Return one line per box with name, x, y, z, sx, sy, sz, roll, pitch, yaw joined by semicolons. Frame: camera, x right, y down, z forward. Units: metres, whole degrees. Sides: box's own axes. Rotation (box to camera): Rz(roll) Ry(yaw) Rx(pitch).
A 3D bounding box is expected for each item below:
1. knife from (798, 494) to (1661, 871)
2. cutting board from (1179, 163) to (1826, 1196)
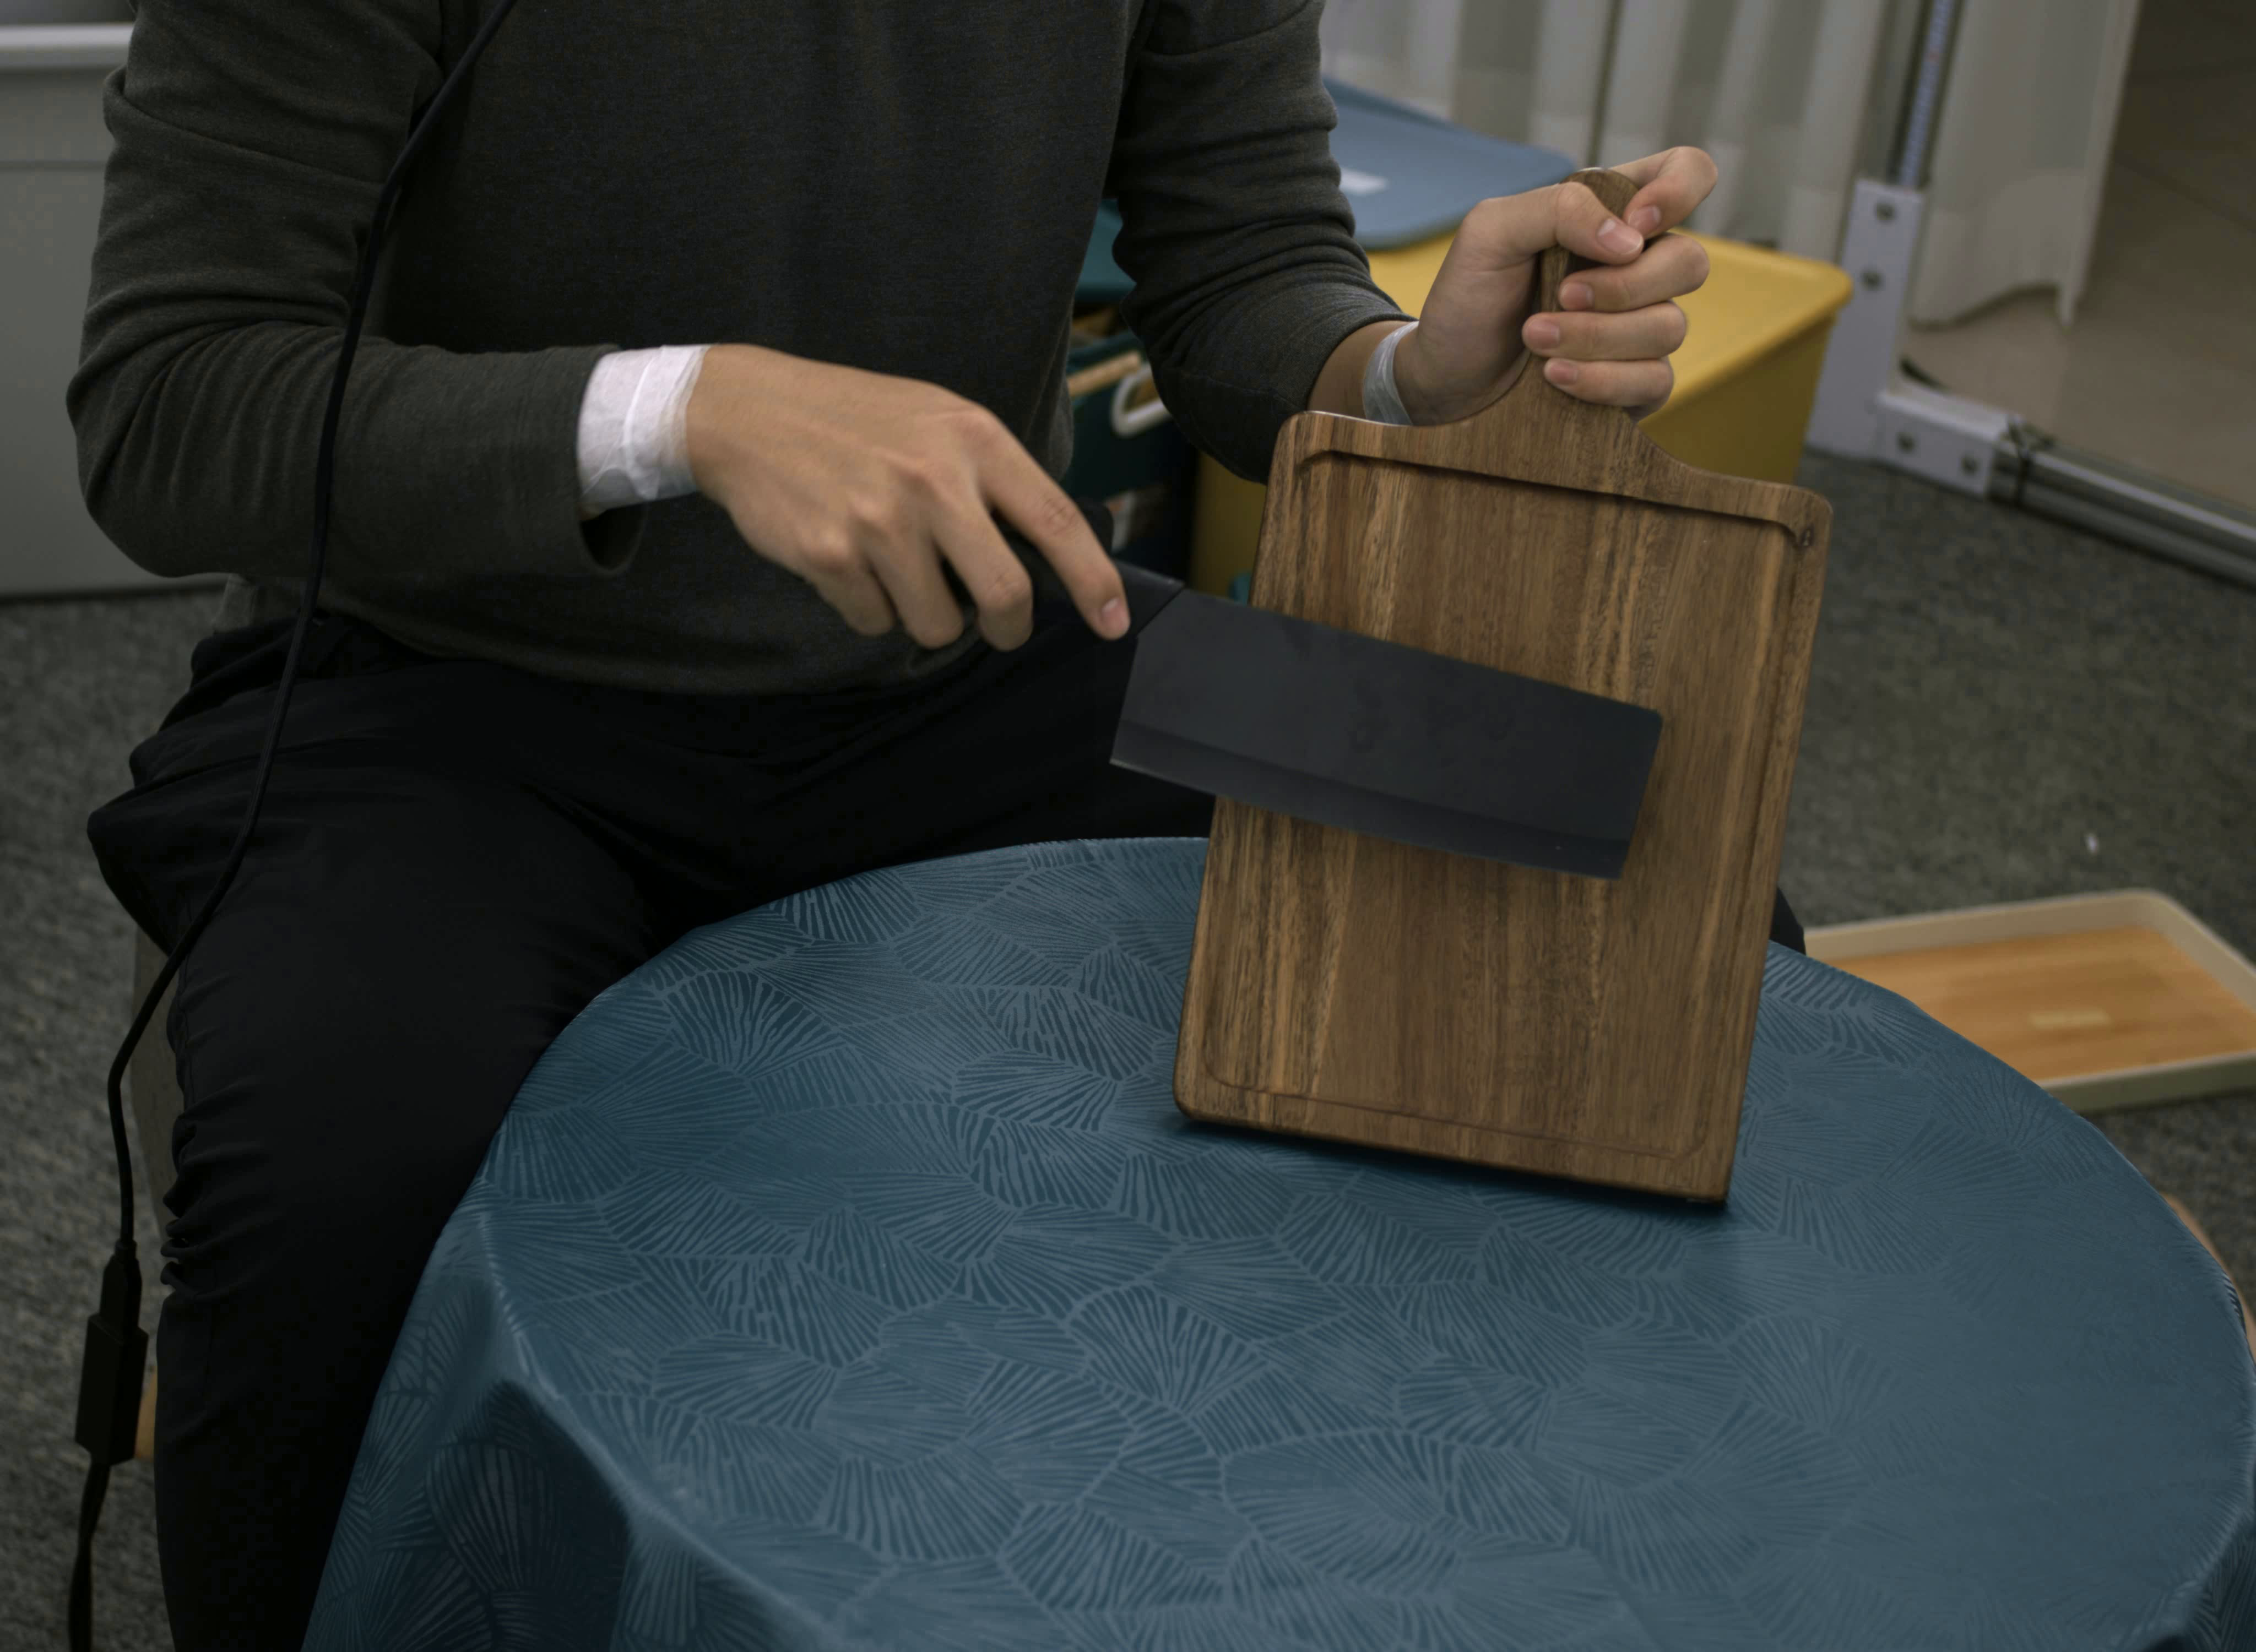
knife;0.032;-0.052;1.819;0.302;0.081;0.021;19;9;6
cutting board;0.137;-0.056;1.852;0.201;0.353;0.023;8;-5;5
